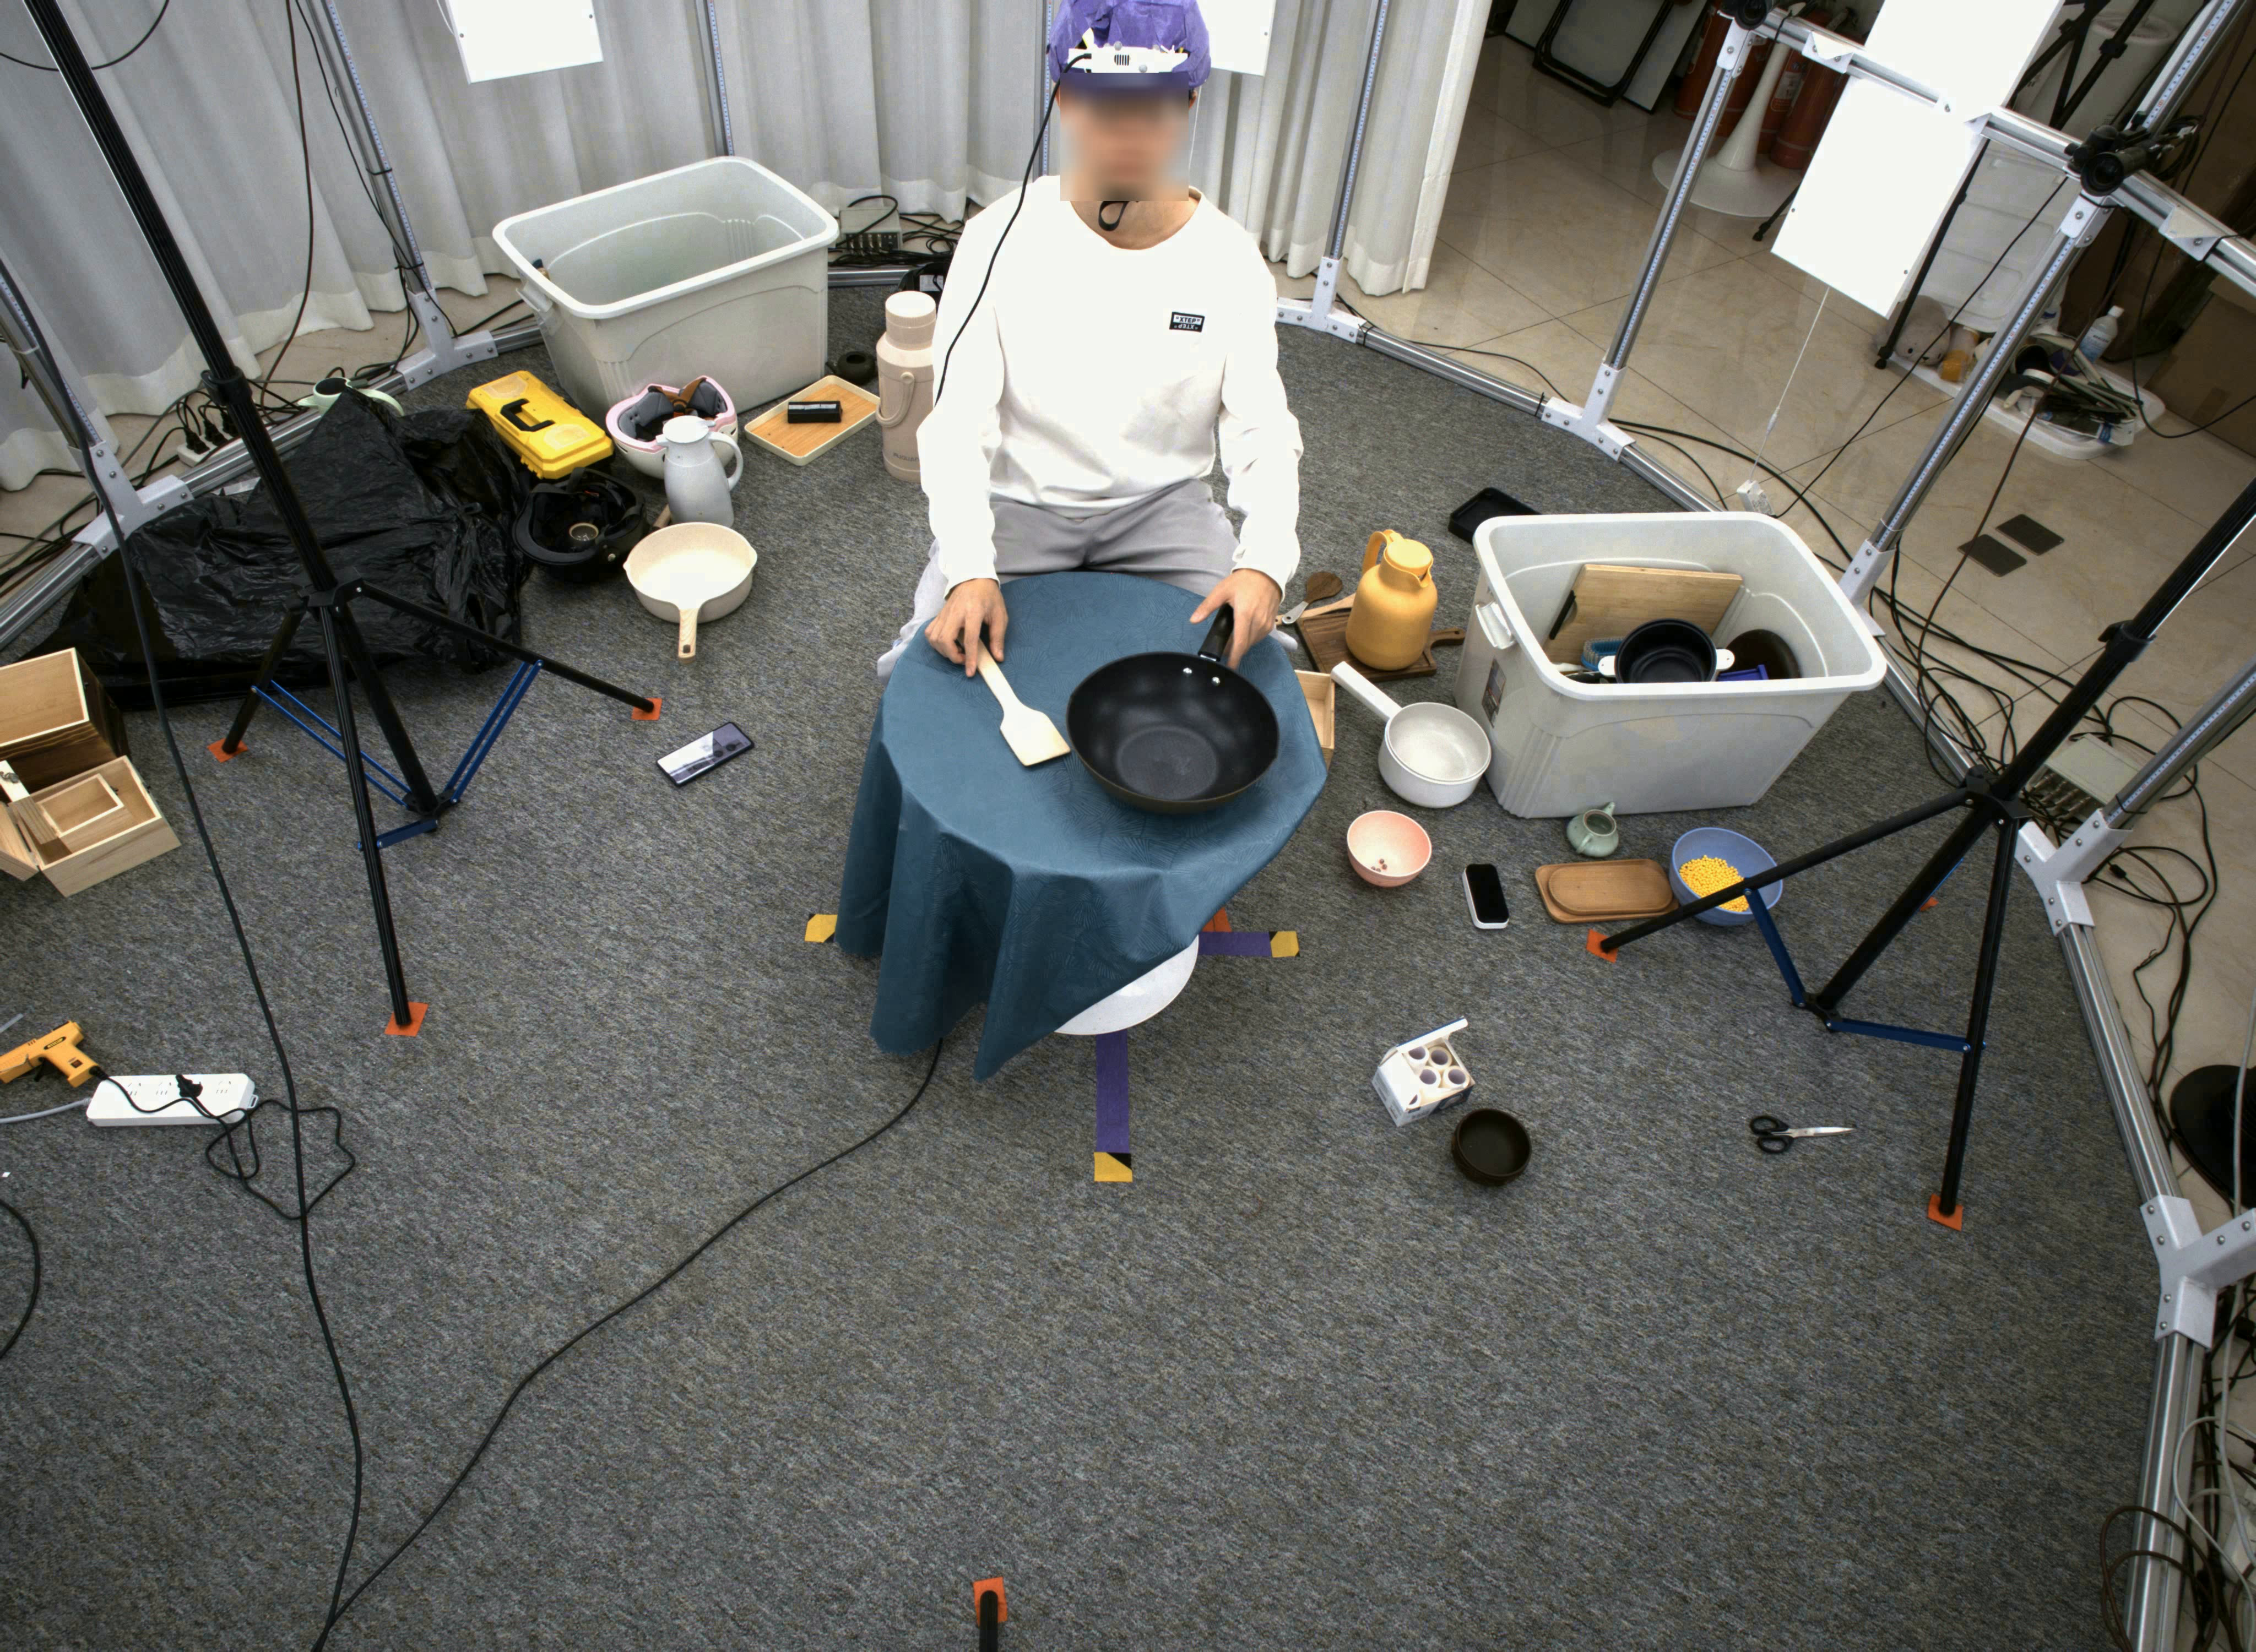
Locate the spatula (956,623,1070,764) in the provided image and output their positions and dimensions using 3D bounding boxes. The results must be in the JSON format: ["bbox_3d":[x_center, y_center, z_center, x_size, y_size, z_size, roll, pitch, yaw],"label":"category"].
[{"bbox_3d":[-0.176,-0.193,1.814,0.072,0.010,0.299,-20,53,-19],"label":"spatula"}]

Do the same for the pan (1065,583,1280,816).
[{"bbox_3d":[0.089,-0.174,1.769,0.289,0.085,0.472,18,49,11],"label":"pan"}]
